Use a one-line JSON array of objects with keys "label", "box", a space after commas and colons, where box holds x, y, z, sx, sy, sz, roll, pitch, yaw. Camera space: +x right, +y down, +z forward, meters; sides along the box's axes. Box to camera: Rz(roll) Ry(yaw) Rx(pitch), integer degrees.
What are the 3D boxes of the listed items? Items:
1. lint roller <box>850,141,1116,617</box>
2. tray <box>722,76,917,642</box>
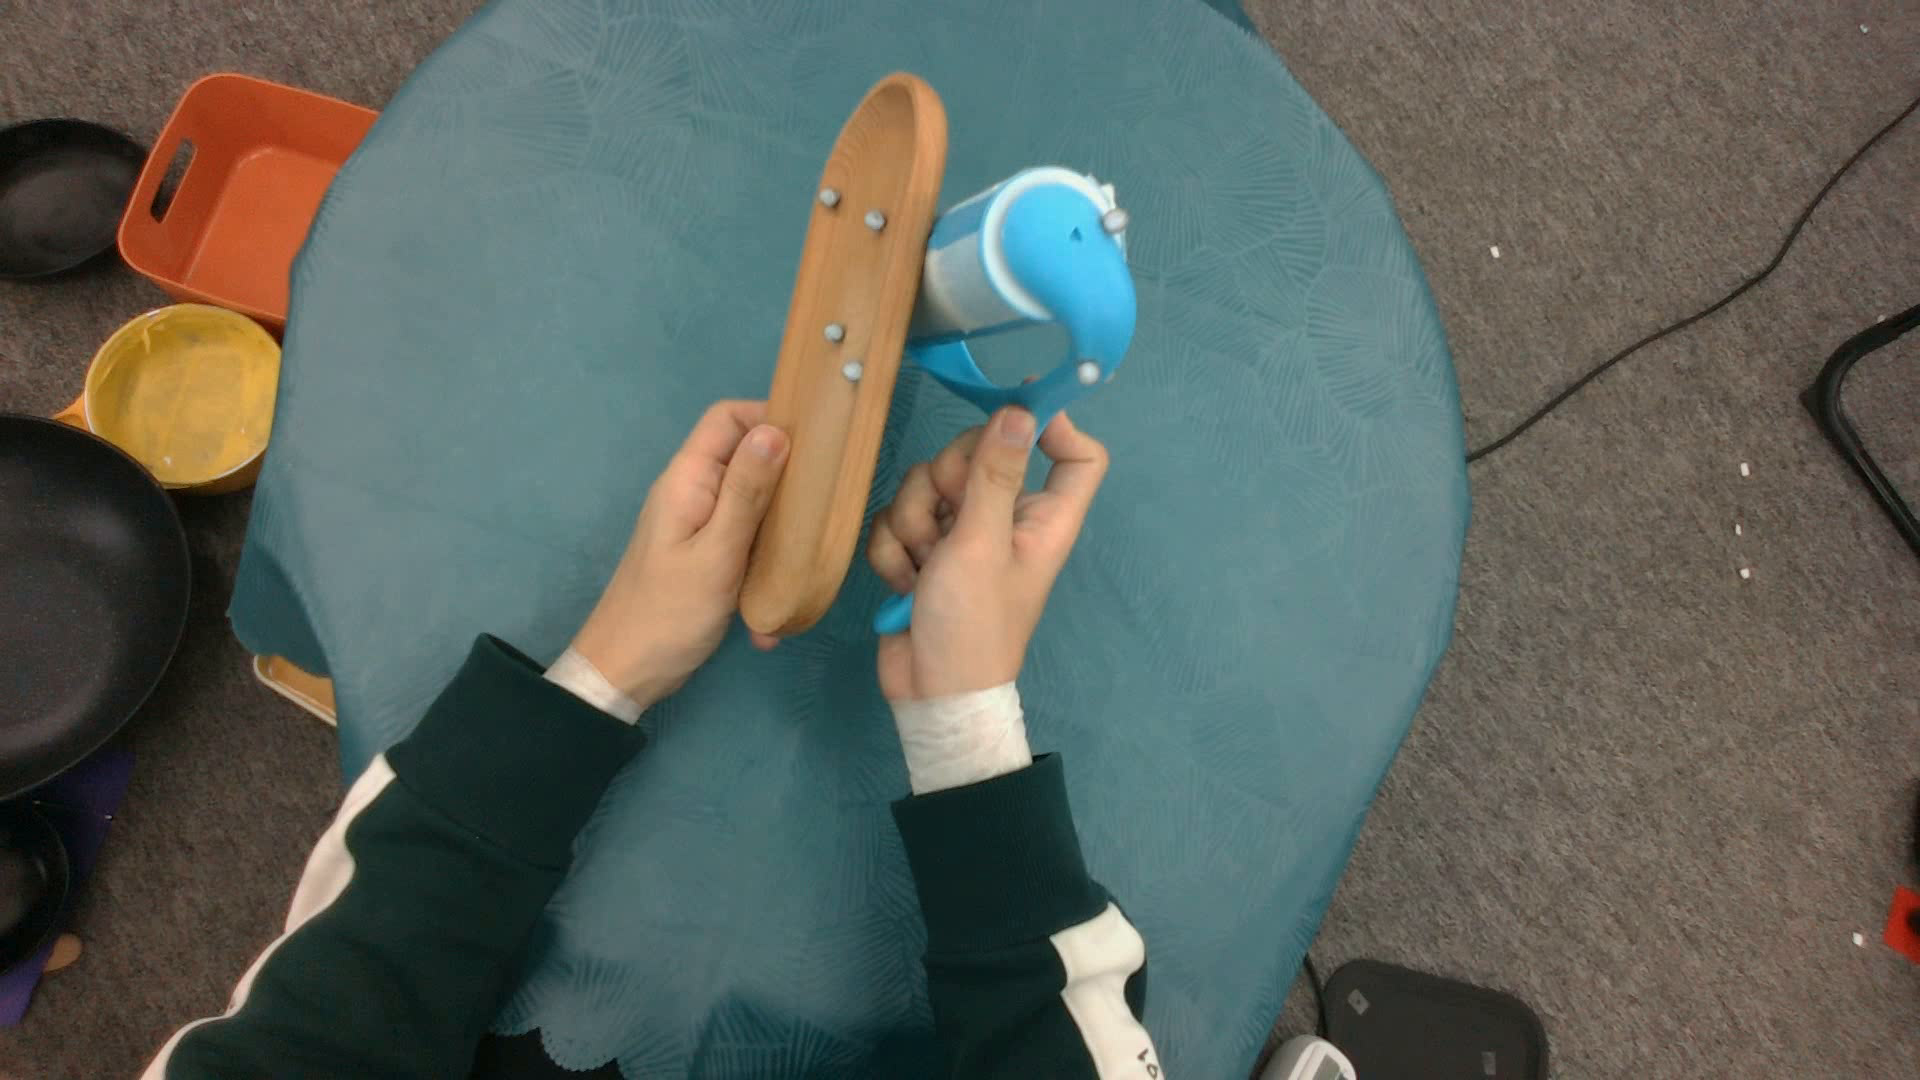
[{"label": "lint roller", "box": [-0.009, -0.058, 0.566, 0.068, 0.229, 0.180, 1, 96, -21]}, {"label": "tray", "box": [-0.058, -0.073, 0.558, 0.020, 0.101, 0.231, 11, 87, -28]}]
